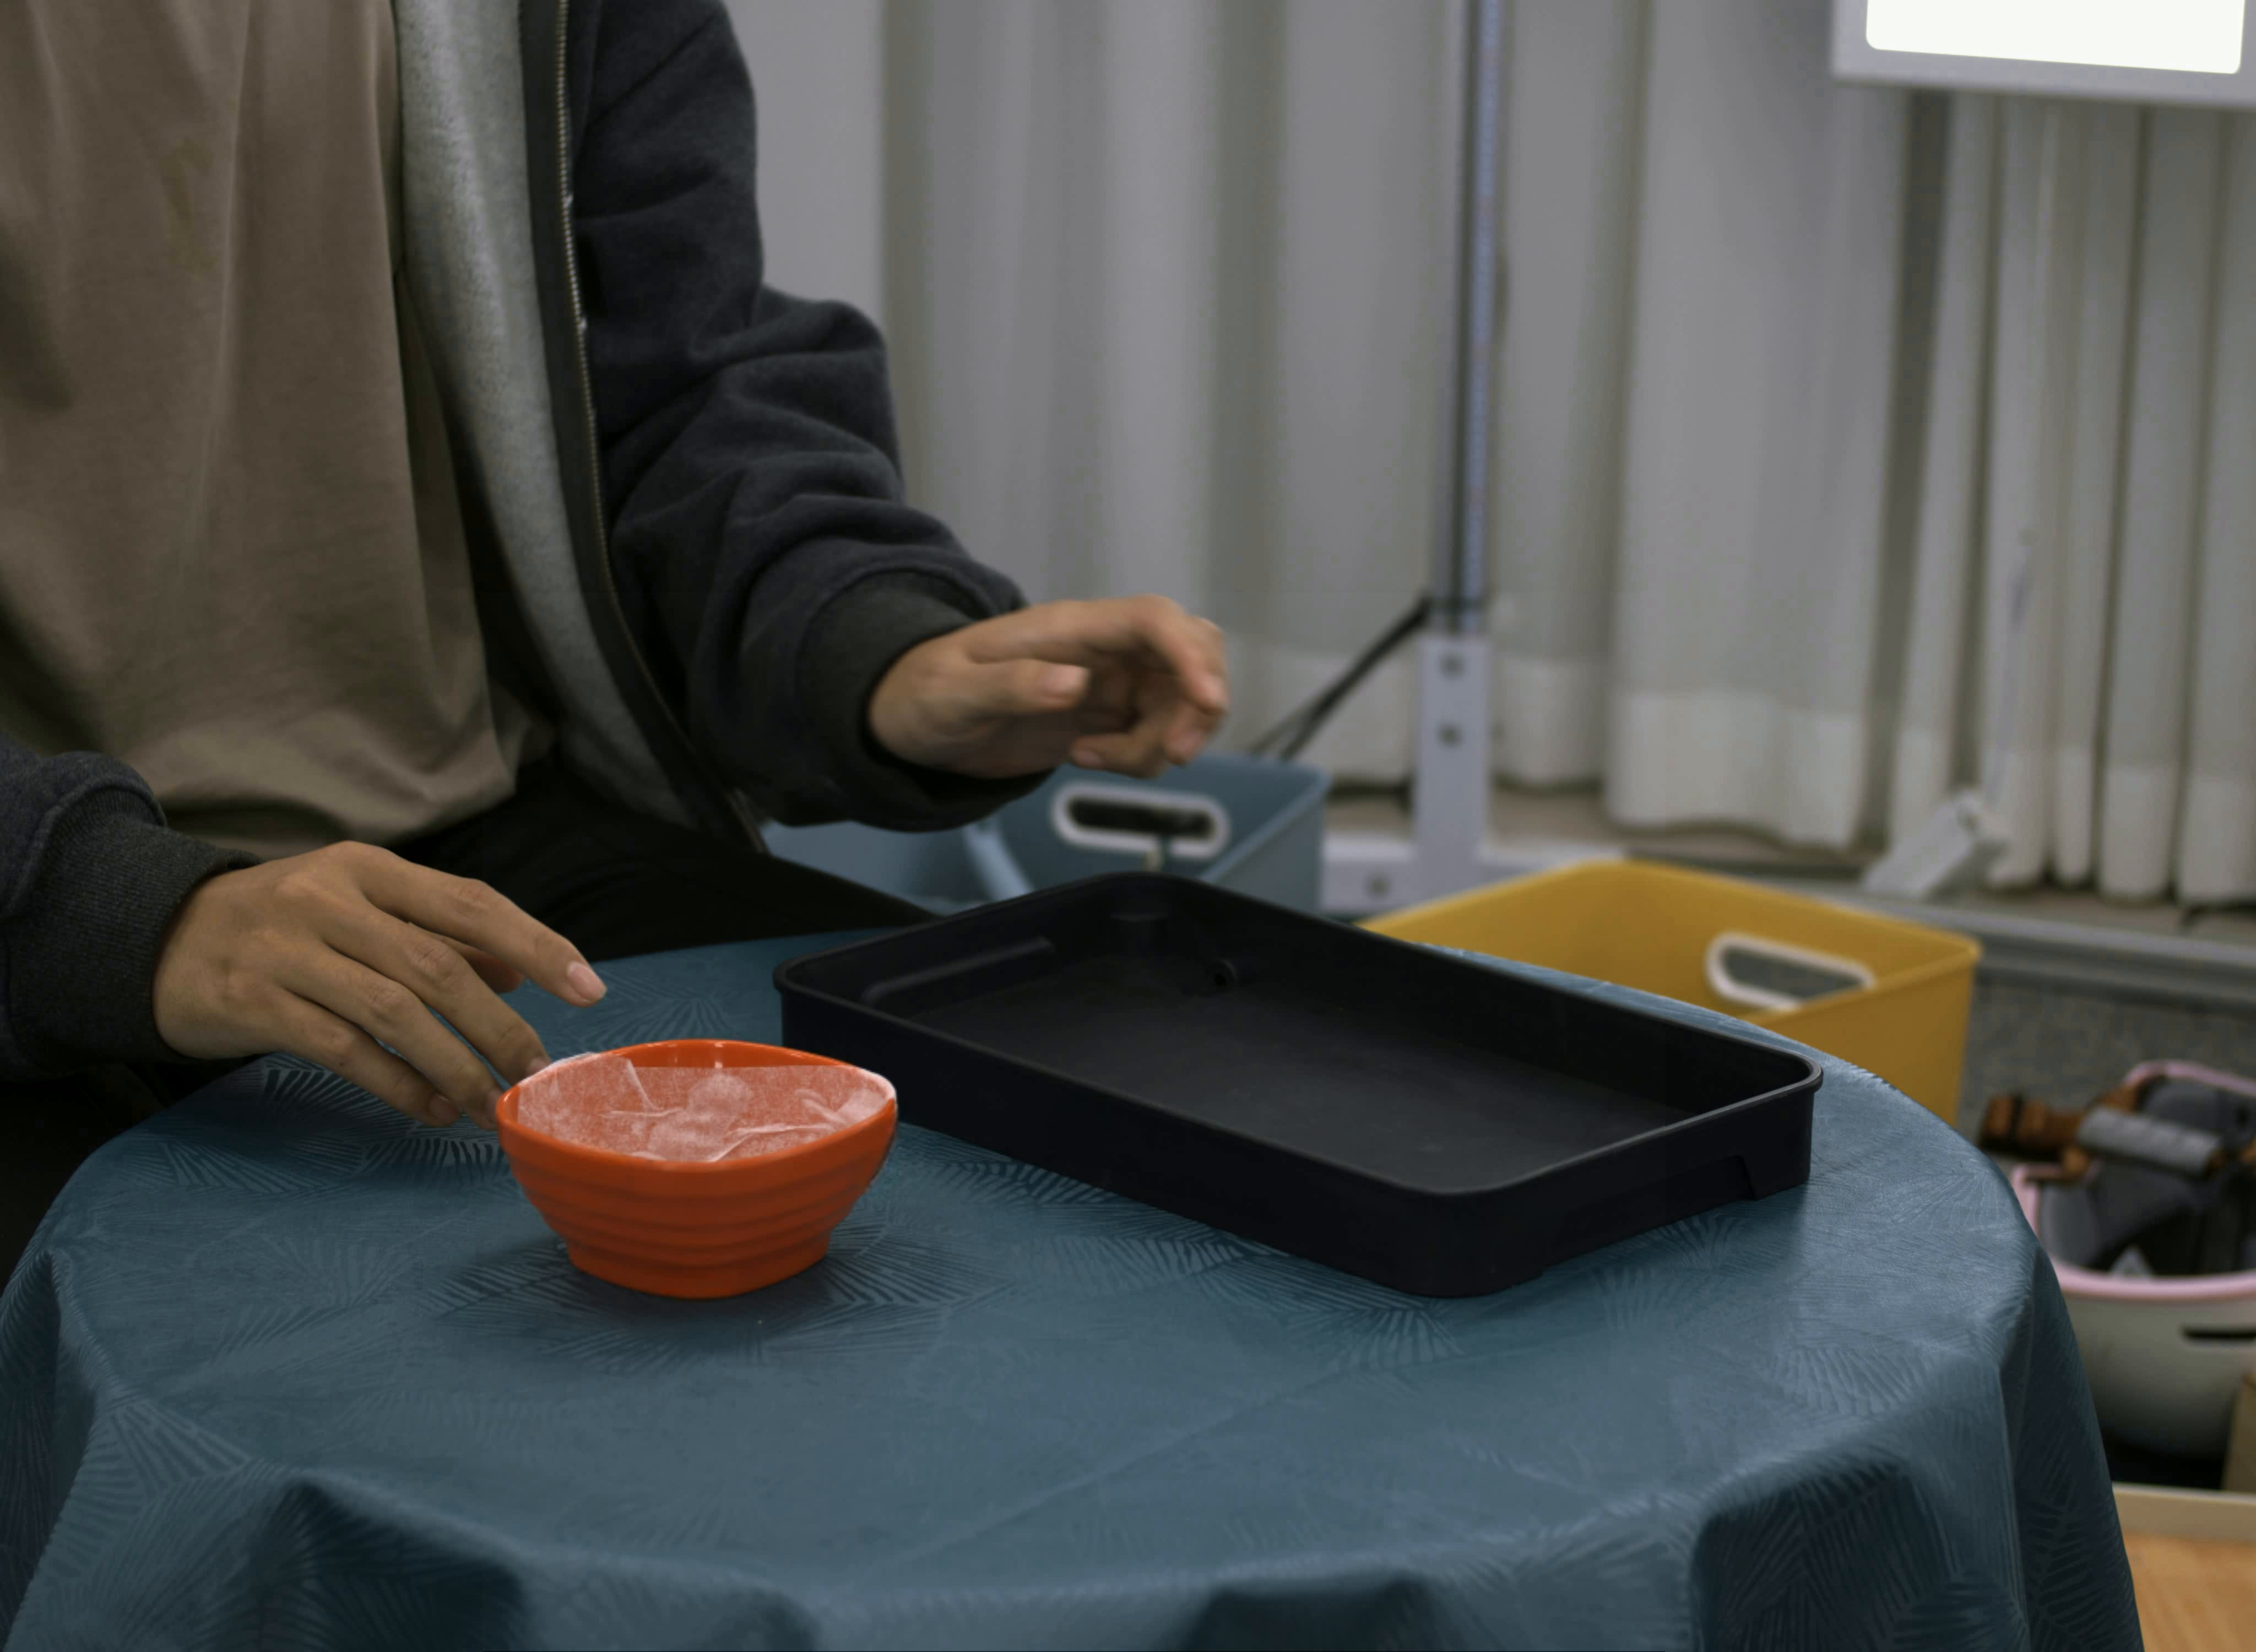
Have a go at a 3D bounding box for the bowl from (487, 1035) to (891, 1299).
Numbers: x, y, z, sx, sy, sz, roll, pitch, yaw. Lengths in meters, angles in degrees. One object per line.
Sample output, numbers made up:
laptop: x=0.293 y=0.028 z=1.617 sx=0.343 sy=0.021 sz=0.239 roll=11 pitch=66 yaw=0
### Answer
bowl: x=-0.129 y=0.102 z=1.553 sx=0.118 sy=0.052 sz=0.118 roll=1 pitch=16 yaw=0

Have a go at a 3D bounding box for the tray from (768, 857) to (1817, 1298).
tray: x=0.048 y=0.075 z=1.685 sx=0.185 sy=0.037 sz=0.313 roll=-14 pitch=22 yaw=-43
